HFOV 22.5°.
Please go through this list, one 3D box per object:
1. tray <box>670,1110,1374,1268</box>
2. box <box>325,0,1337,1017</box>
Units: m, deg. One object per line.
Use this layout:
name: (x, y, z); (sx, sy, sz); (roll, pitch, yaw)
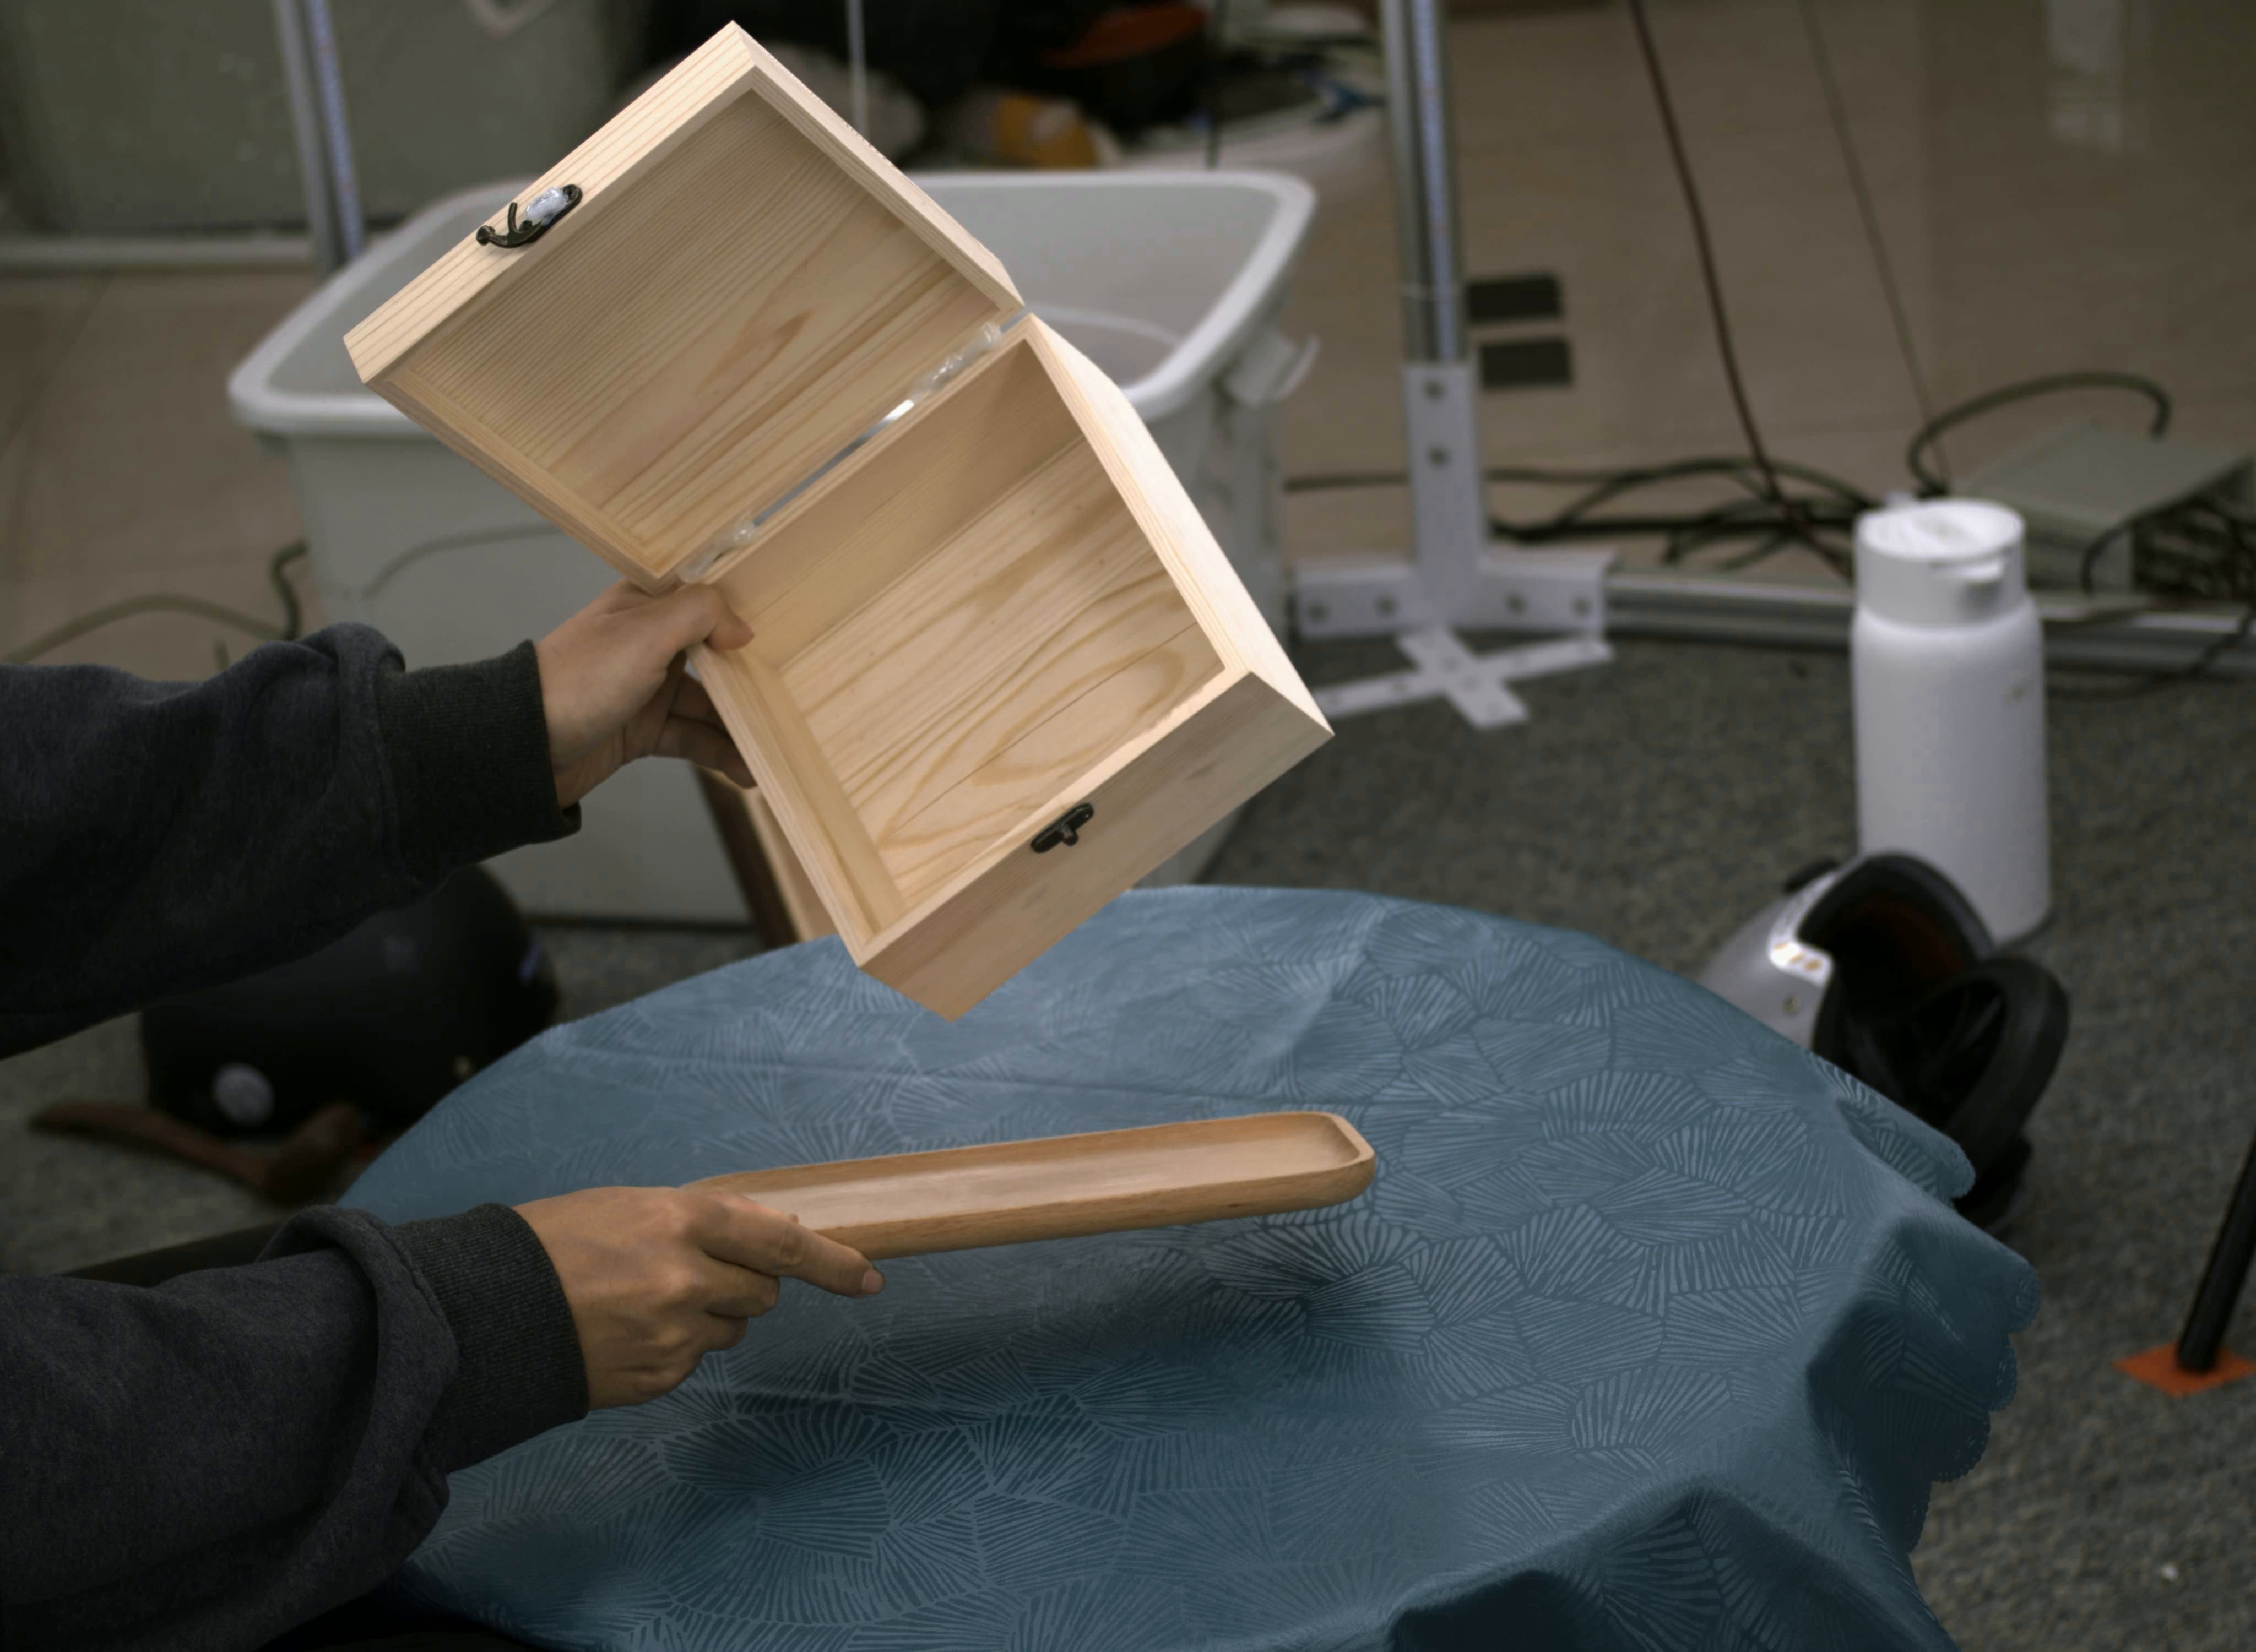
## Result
tray: (-0.039, 0.131, 2.048); (0.250, 0.023, 0.130); (-6, 5, -5)
box: (-0.105, -0.109, 2.029); (0.182, 0.255, 0.261); (-39, 60, 14)
